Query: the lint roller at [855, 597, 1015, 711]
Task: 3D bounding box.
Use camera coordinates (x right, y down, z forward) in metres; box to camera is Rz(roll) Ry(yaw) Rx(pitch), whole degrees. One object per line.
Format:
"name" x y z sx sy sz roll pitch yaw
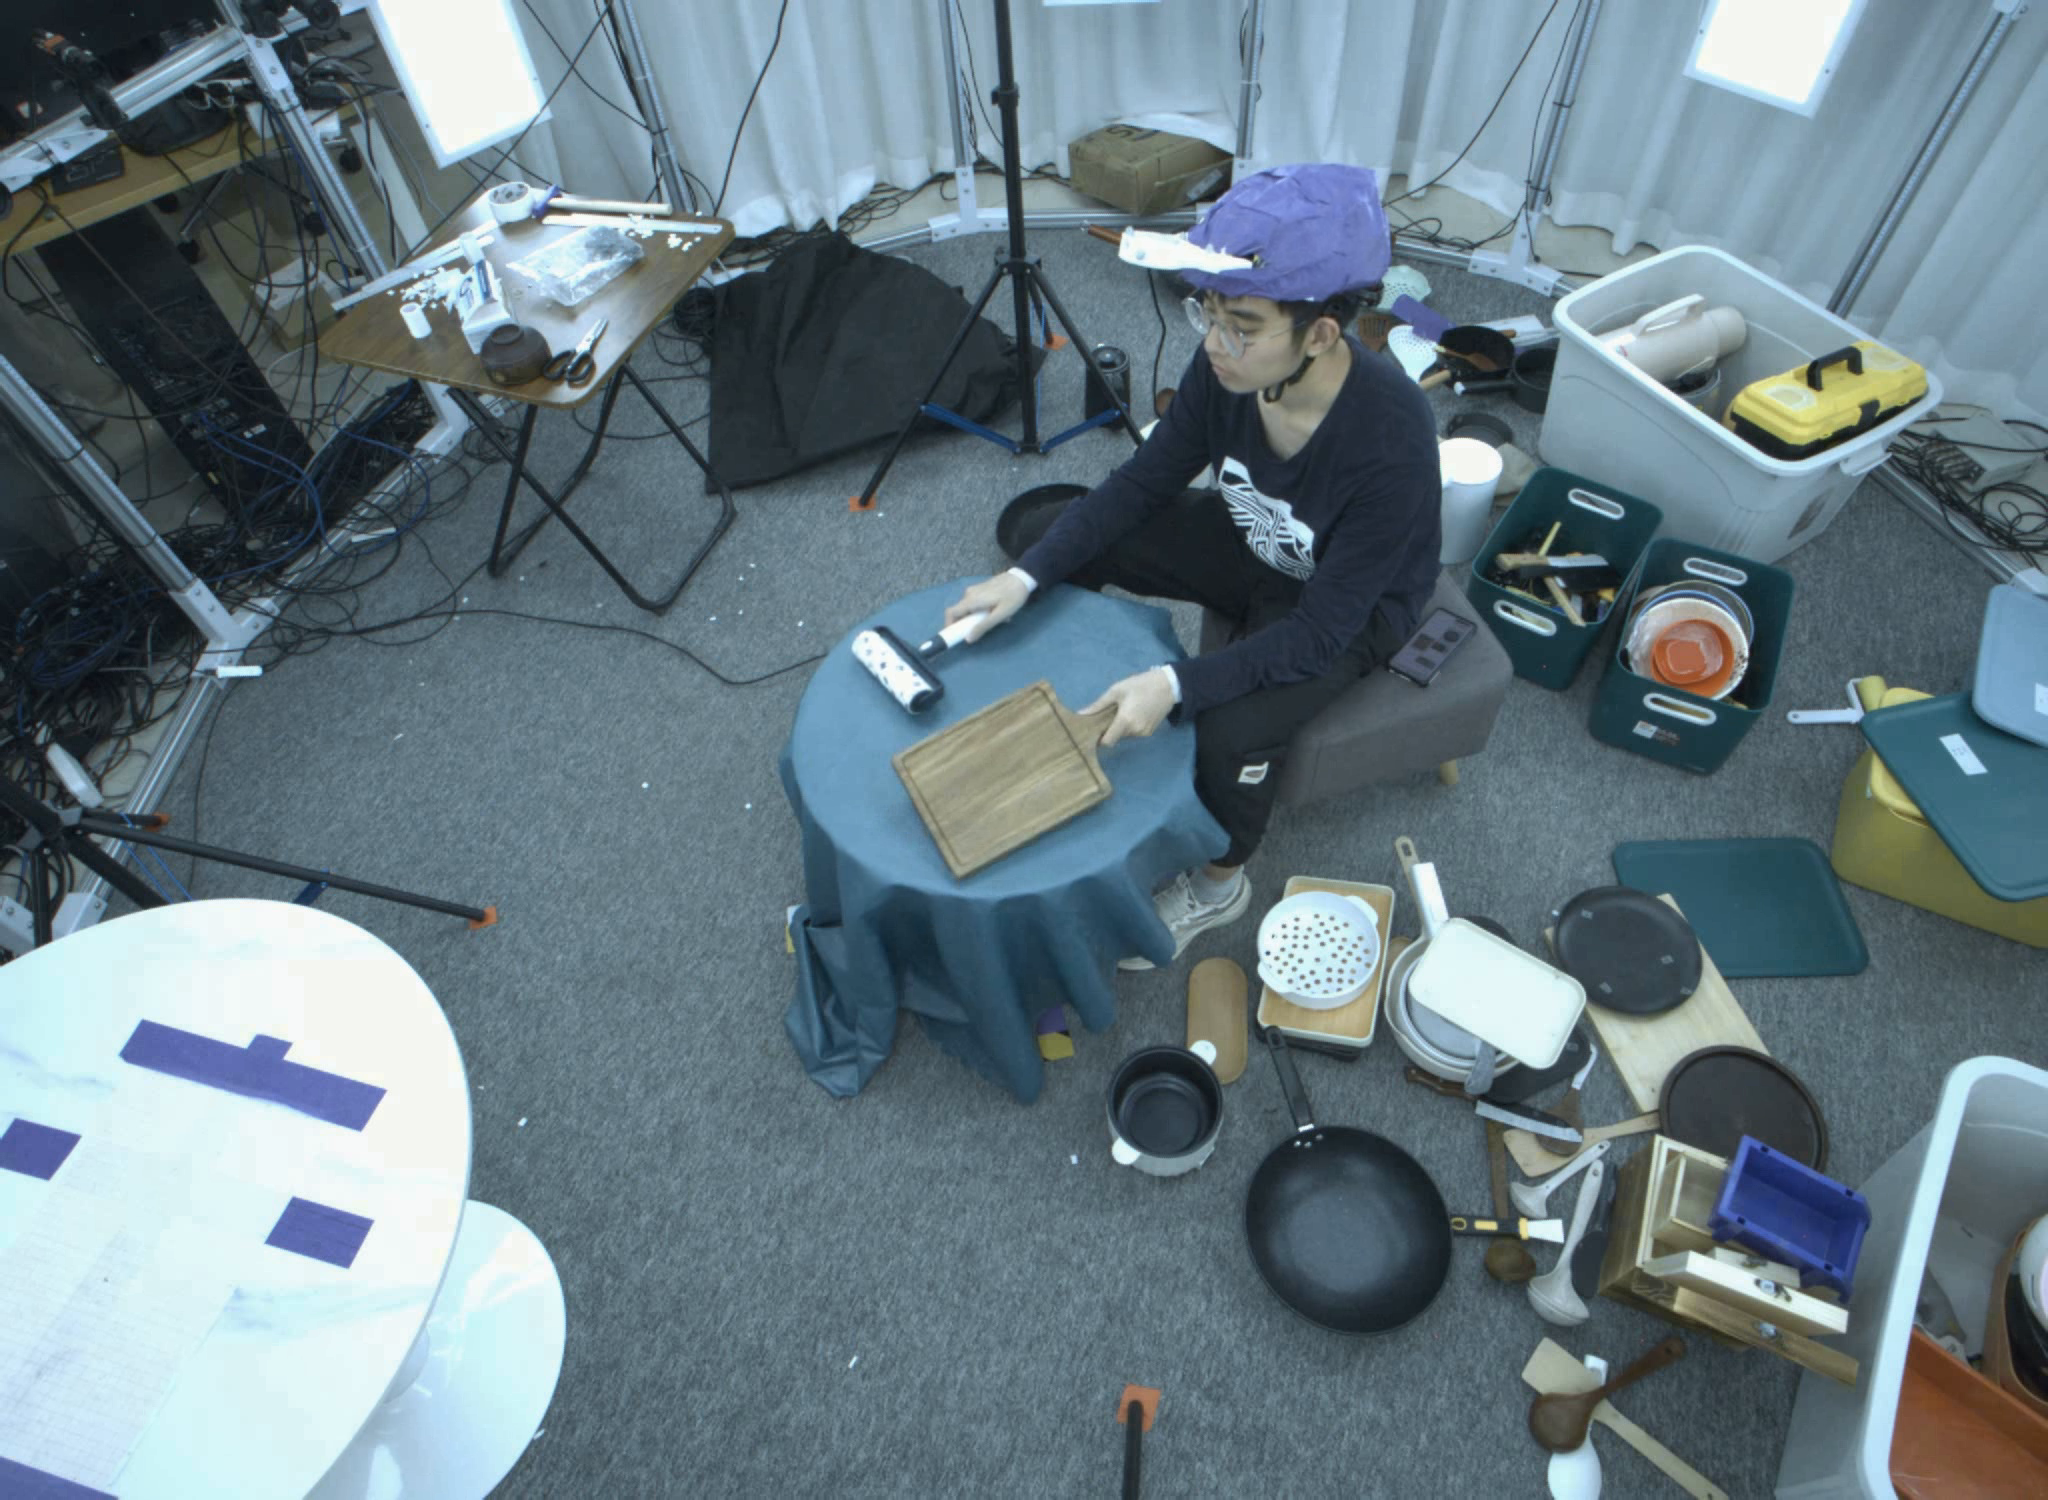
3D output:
"lint roller" -0.119 -0.175 1.884 0.249 0.051 0.172 -34 56 -19

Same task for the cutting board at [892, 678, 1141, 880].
"cutting board" 0.013 0.014 1.720 0.354 0.023 0.199 -29 76 -11
